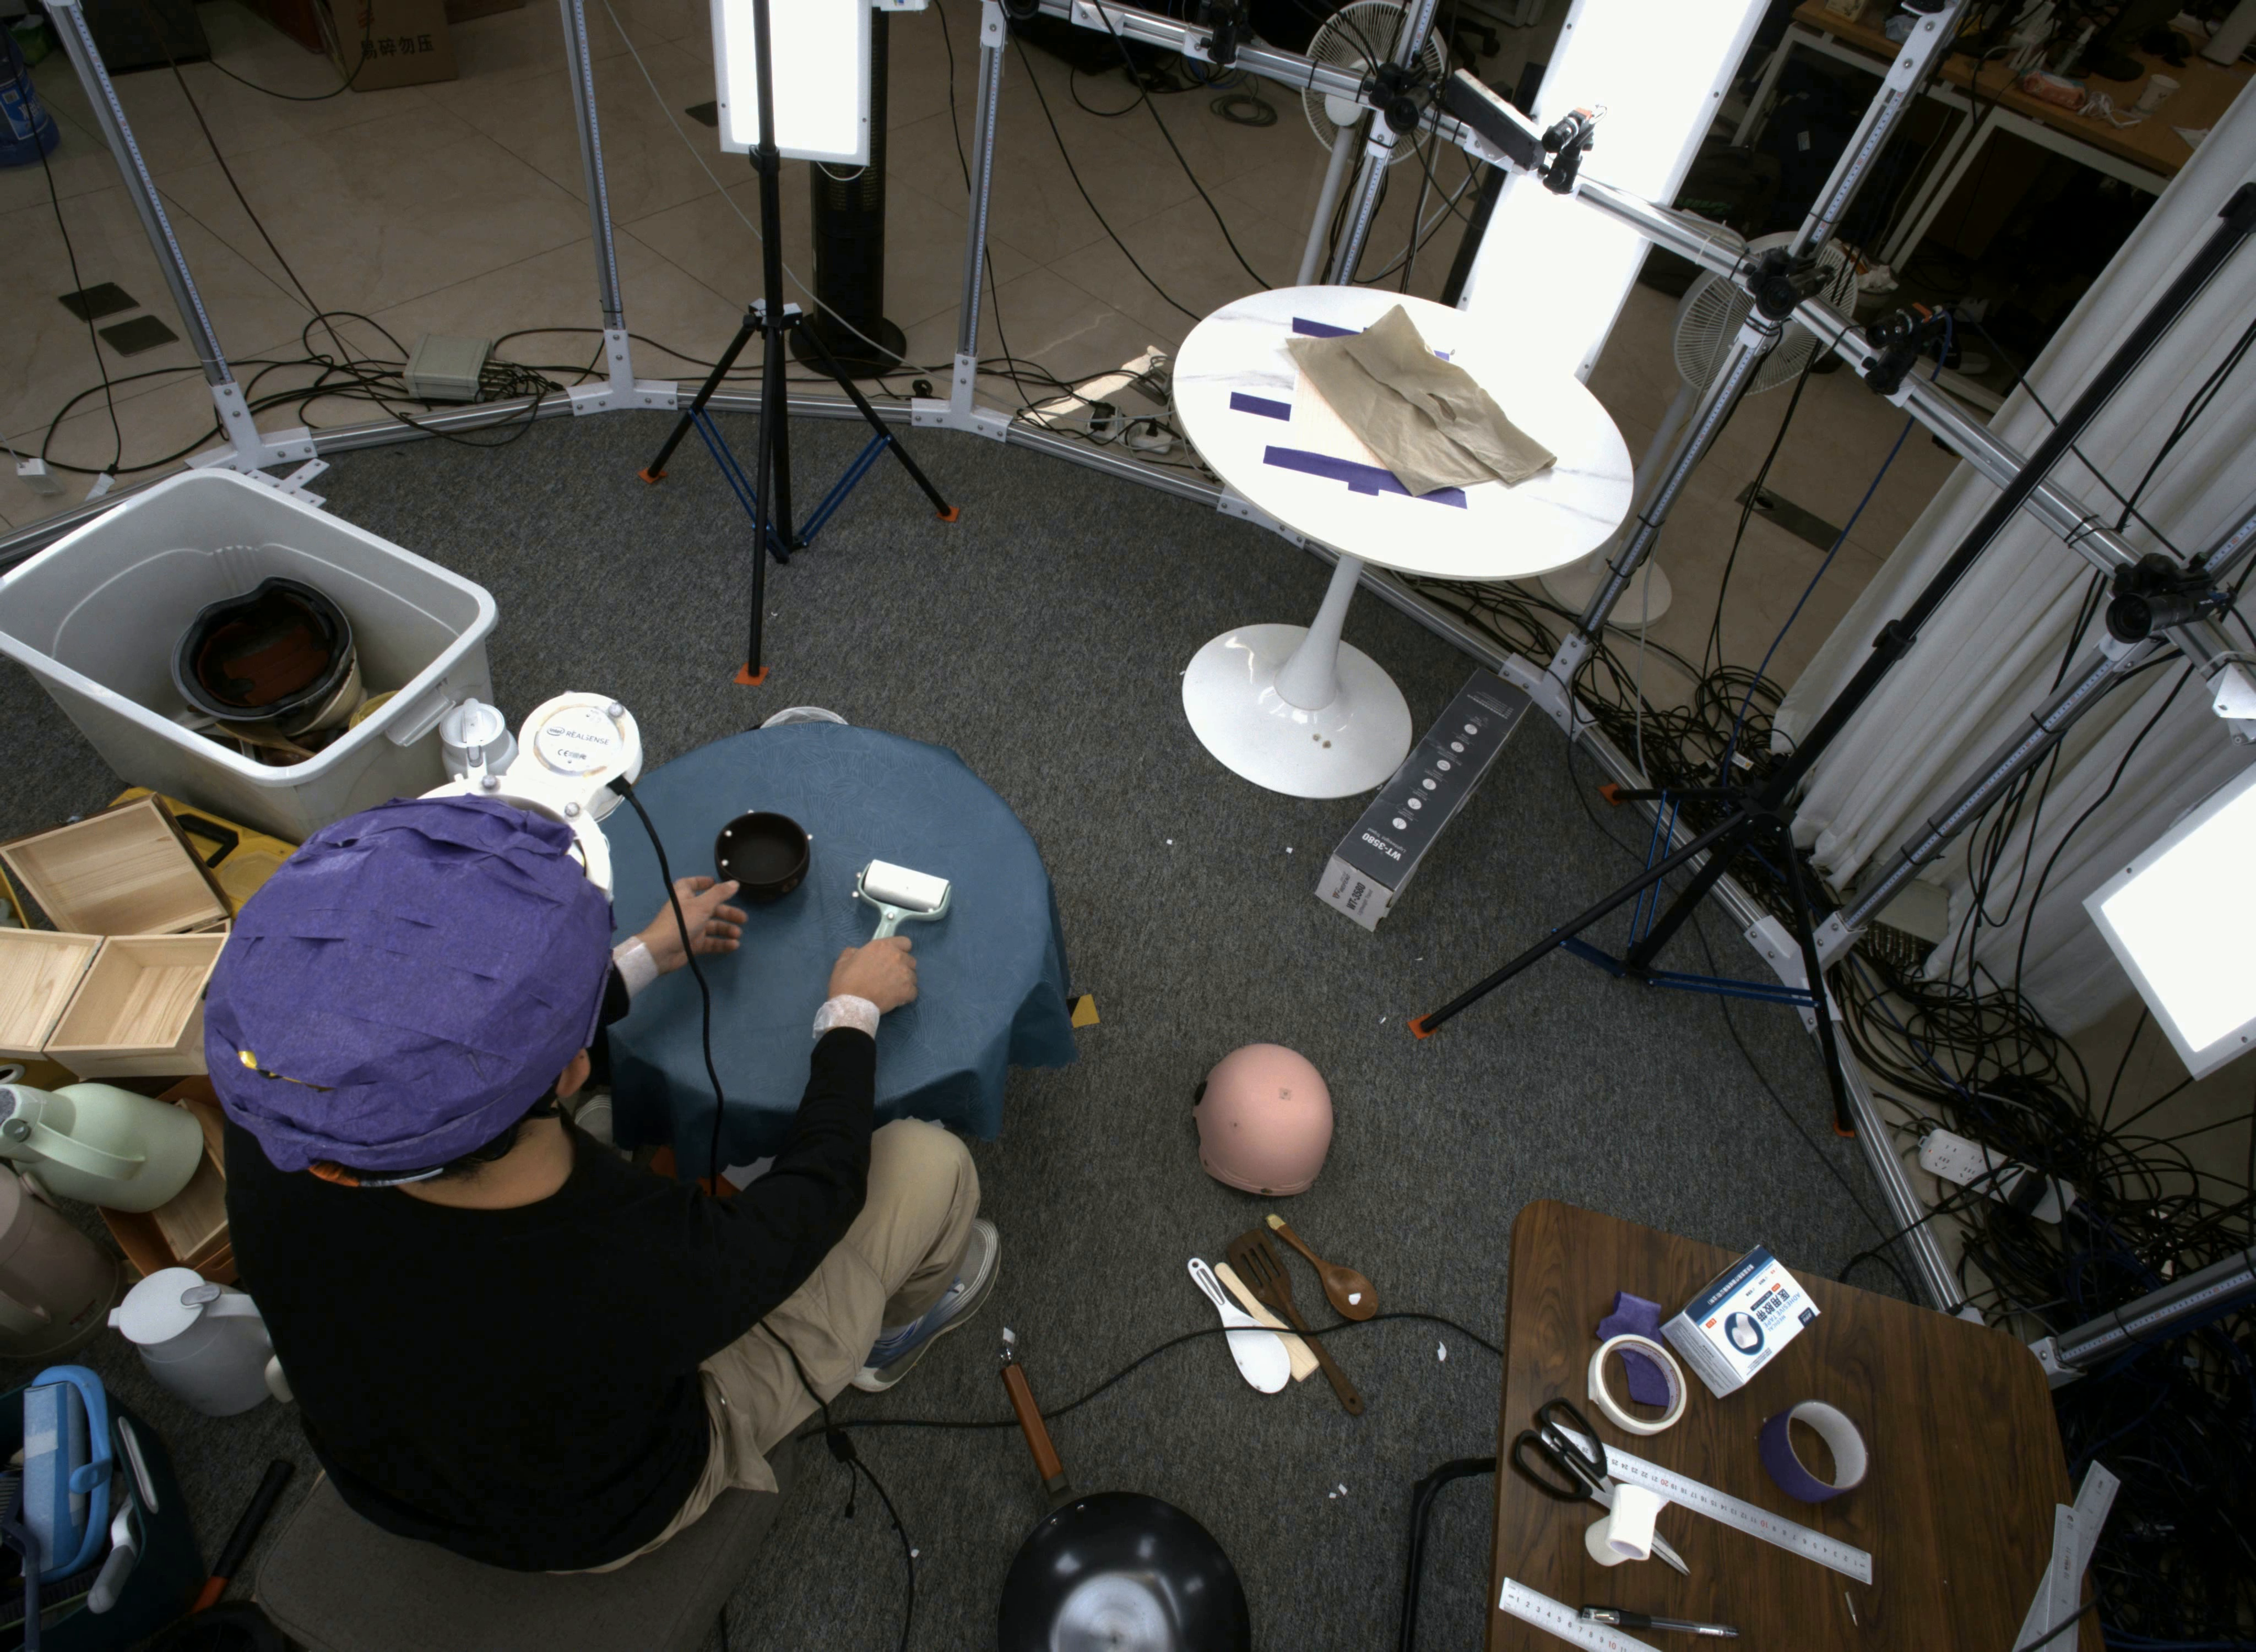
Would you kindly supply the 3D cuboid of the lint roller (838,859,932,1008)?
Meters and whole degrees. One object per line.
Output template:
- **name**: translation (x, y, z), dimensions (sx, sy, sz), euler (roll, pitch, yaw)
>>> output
- **lint roller**: translation (-0.320, 0.131, 1.616), dimensions (0.116, 0.049, 0.195), euler (16, 51, -4)

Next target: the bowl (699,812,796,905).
- **bowl**: translation (-0.476, 0.047, 1.624), dimensions (0.118, 0.071, 0.116), euler (8, 53, -9)
